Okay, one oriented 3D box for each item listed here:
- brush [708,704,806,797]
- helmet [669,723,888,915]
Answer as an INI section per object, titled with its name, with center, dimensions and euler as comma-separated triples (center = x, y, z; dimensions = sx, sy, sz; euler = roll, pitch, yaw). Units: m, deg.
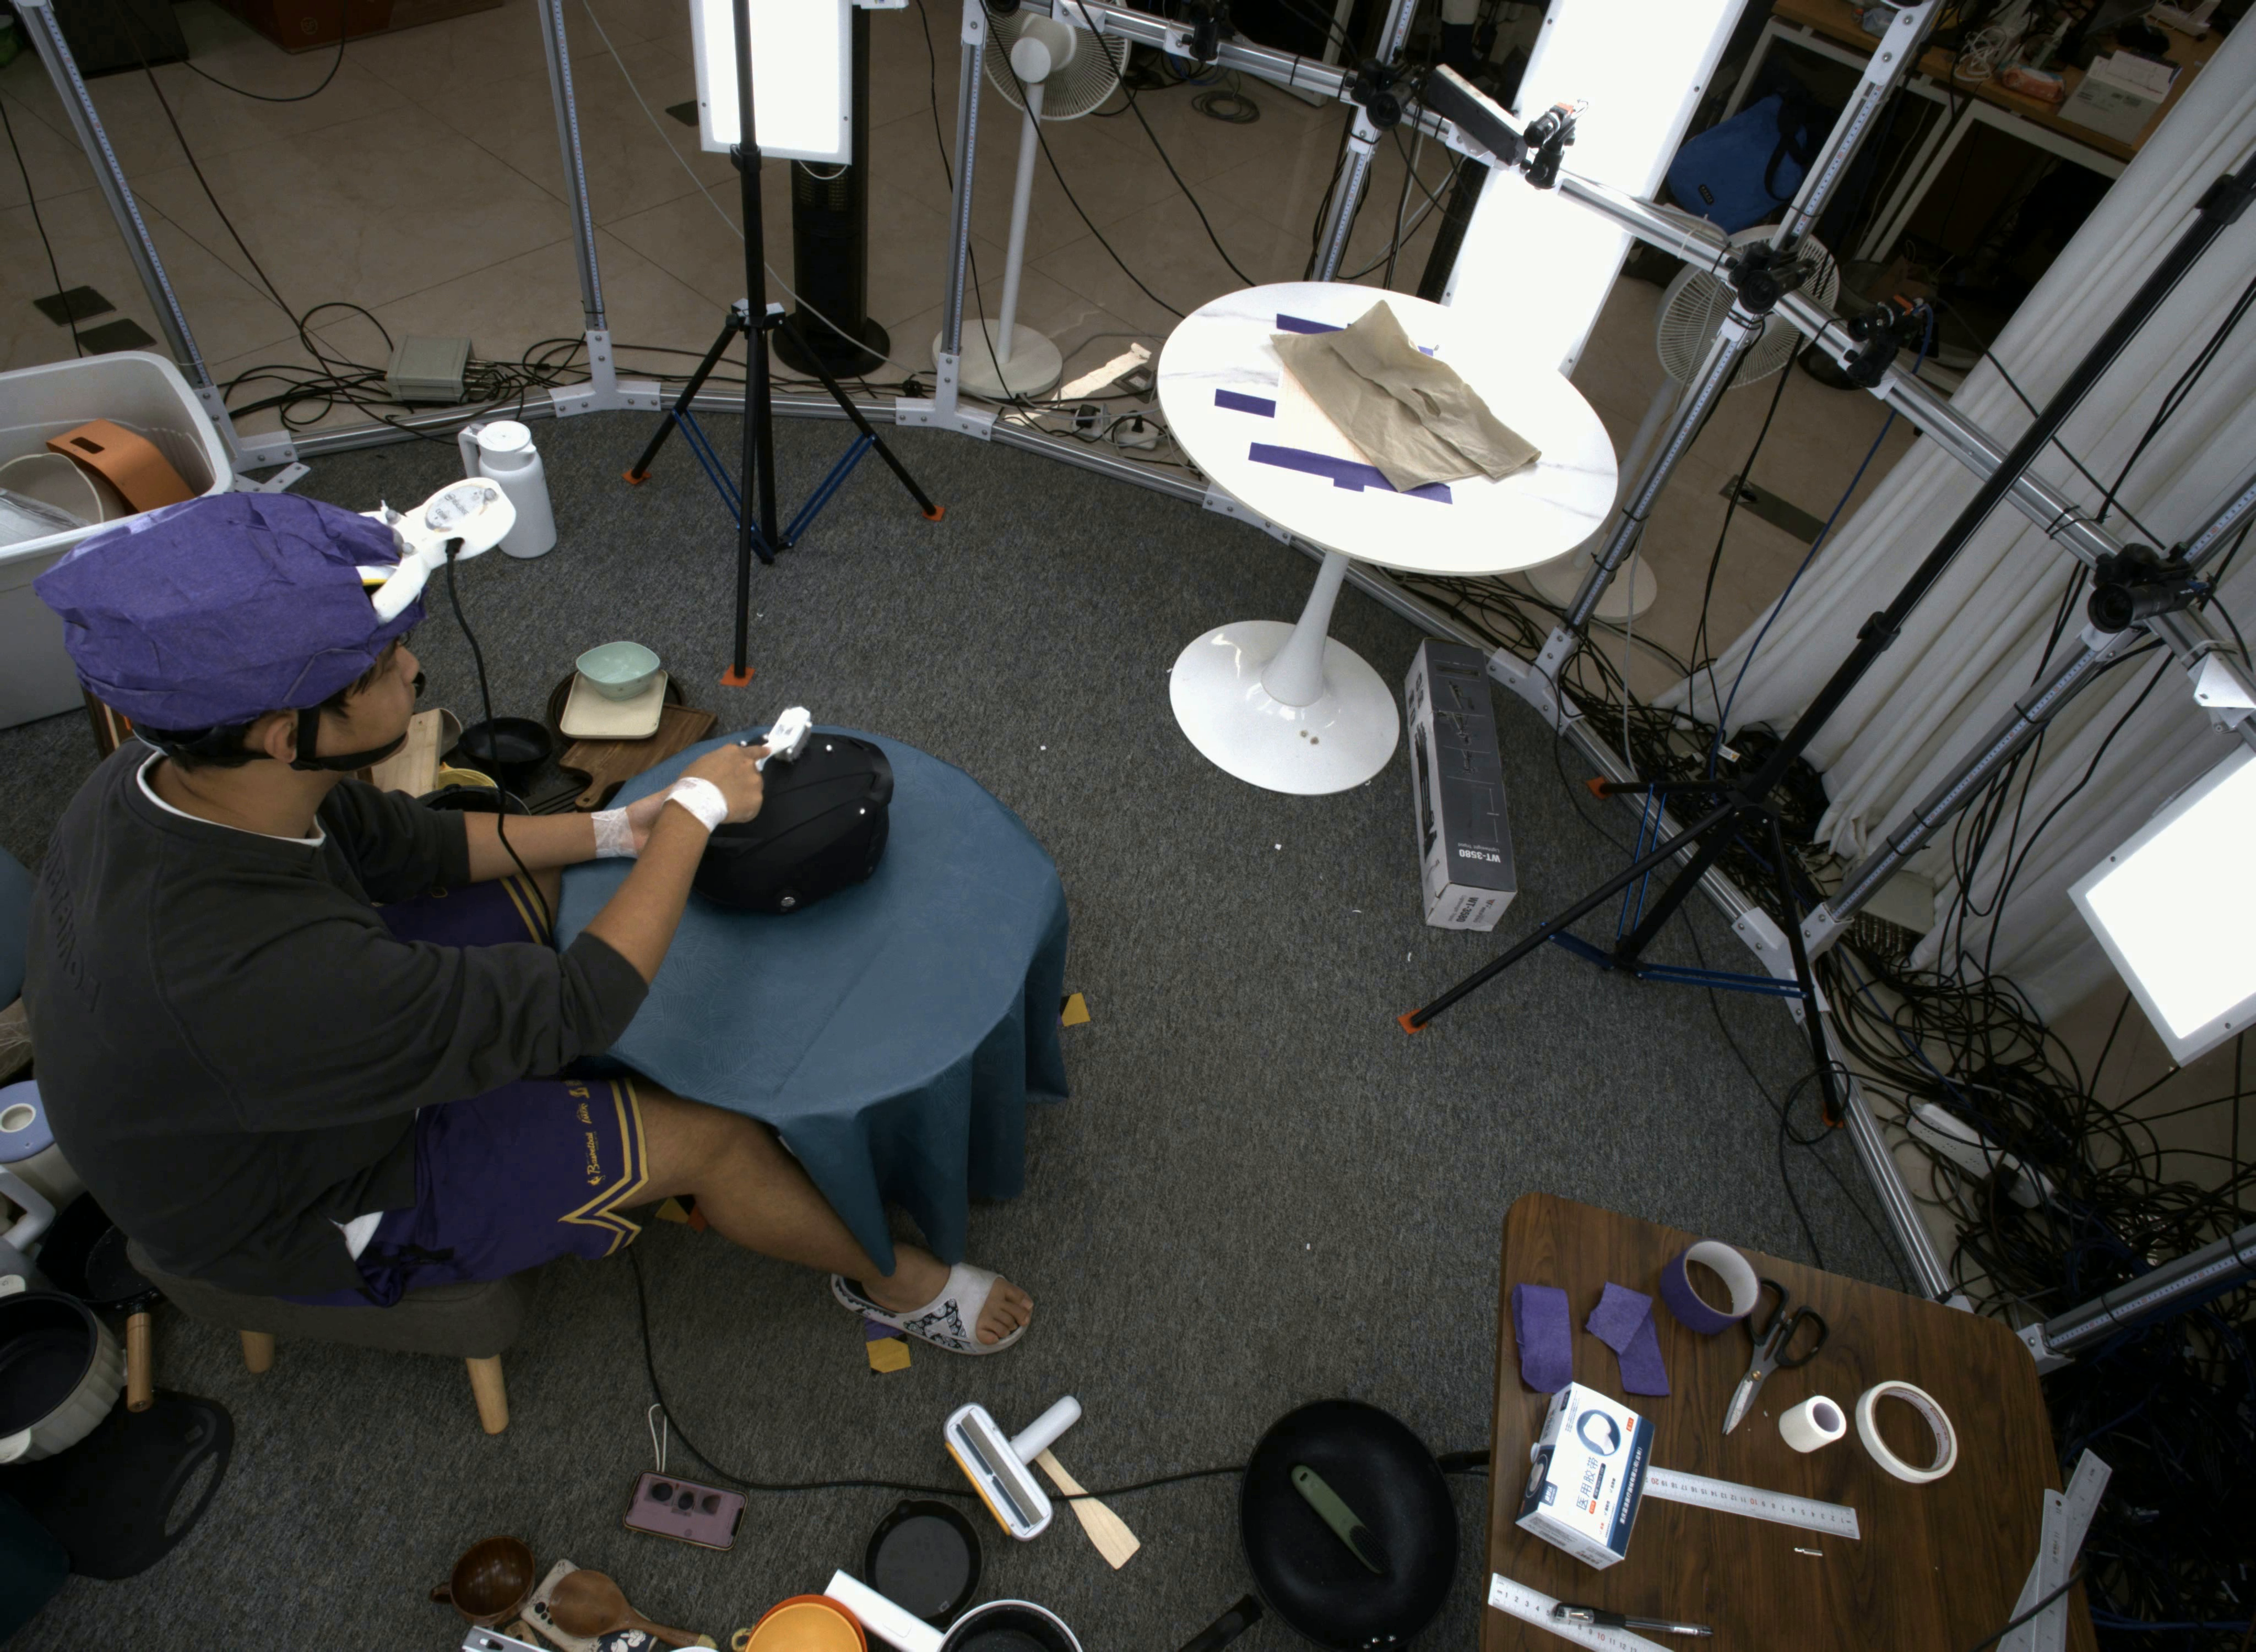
[brush]
center = -0.431, -0.076, 1.506
dimensions = 0.034, 0.051, 0.240
euler = 13, 30, 2
[helmet]
center = -0.439, -0.026, 1.638
dimensions = 0.279, 0.175, 0.241
euler = -13, 59, -26
